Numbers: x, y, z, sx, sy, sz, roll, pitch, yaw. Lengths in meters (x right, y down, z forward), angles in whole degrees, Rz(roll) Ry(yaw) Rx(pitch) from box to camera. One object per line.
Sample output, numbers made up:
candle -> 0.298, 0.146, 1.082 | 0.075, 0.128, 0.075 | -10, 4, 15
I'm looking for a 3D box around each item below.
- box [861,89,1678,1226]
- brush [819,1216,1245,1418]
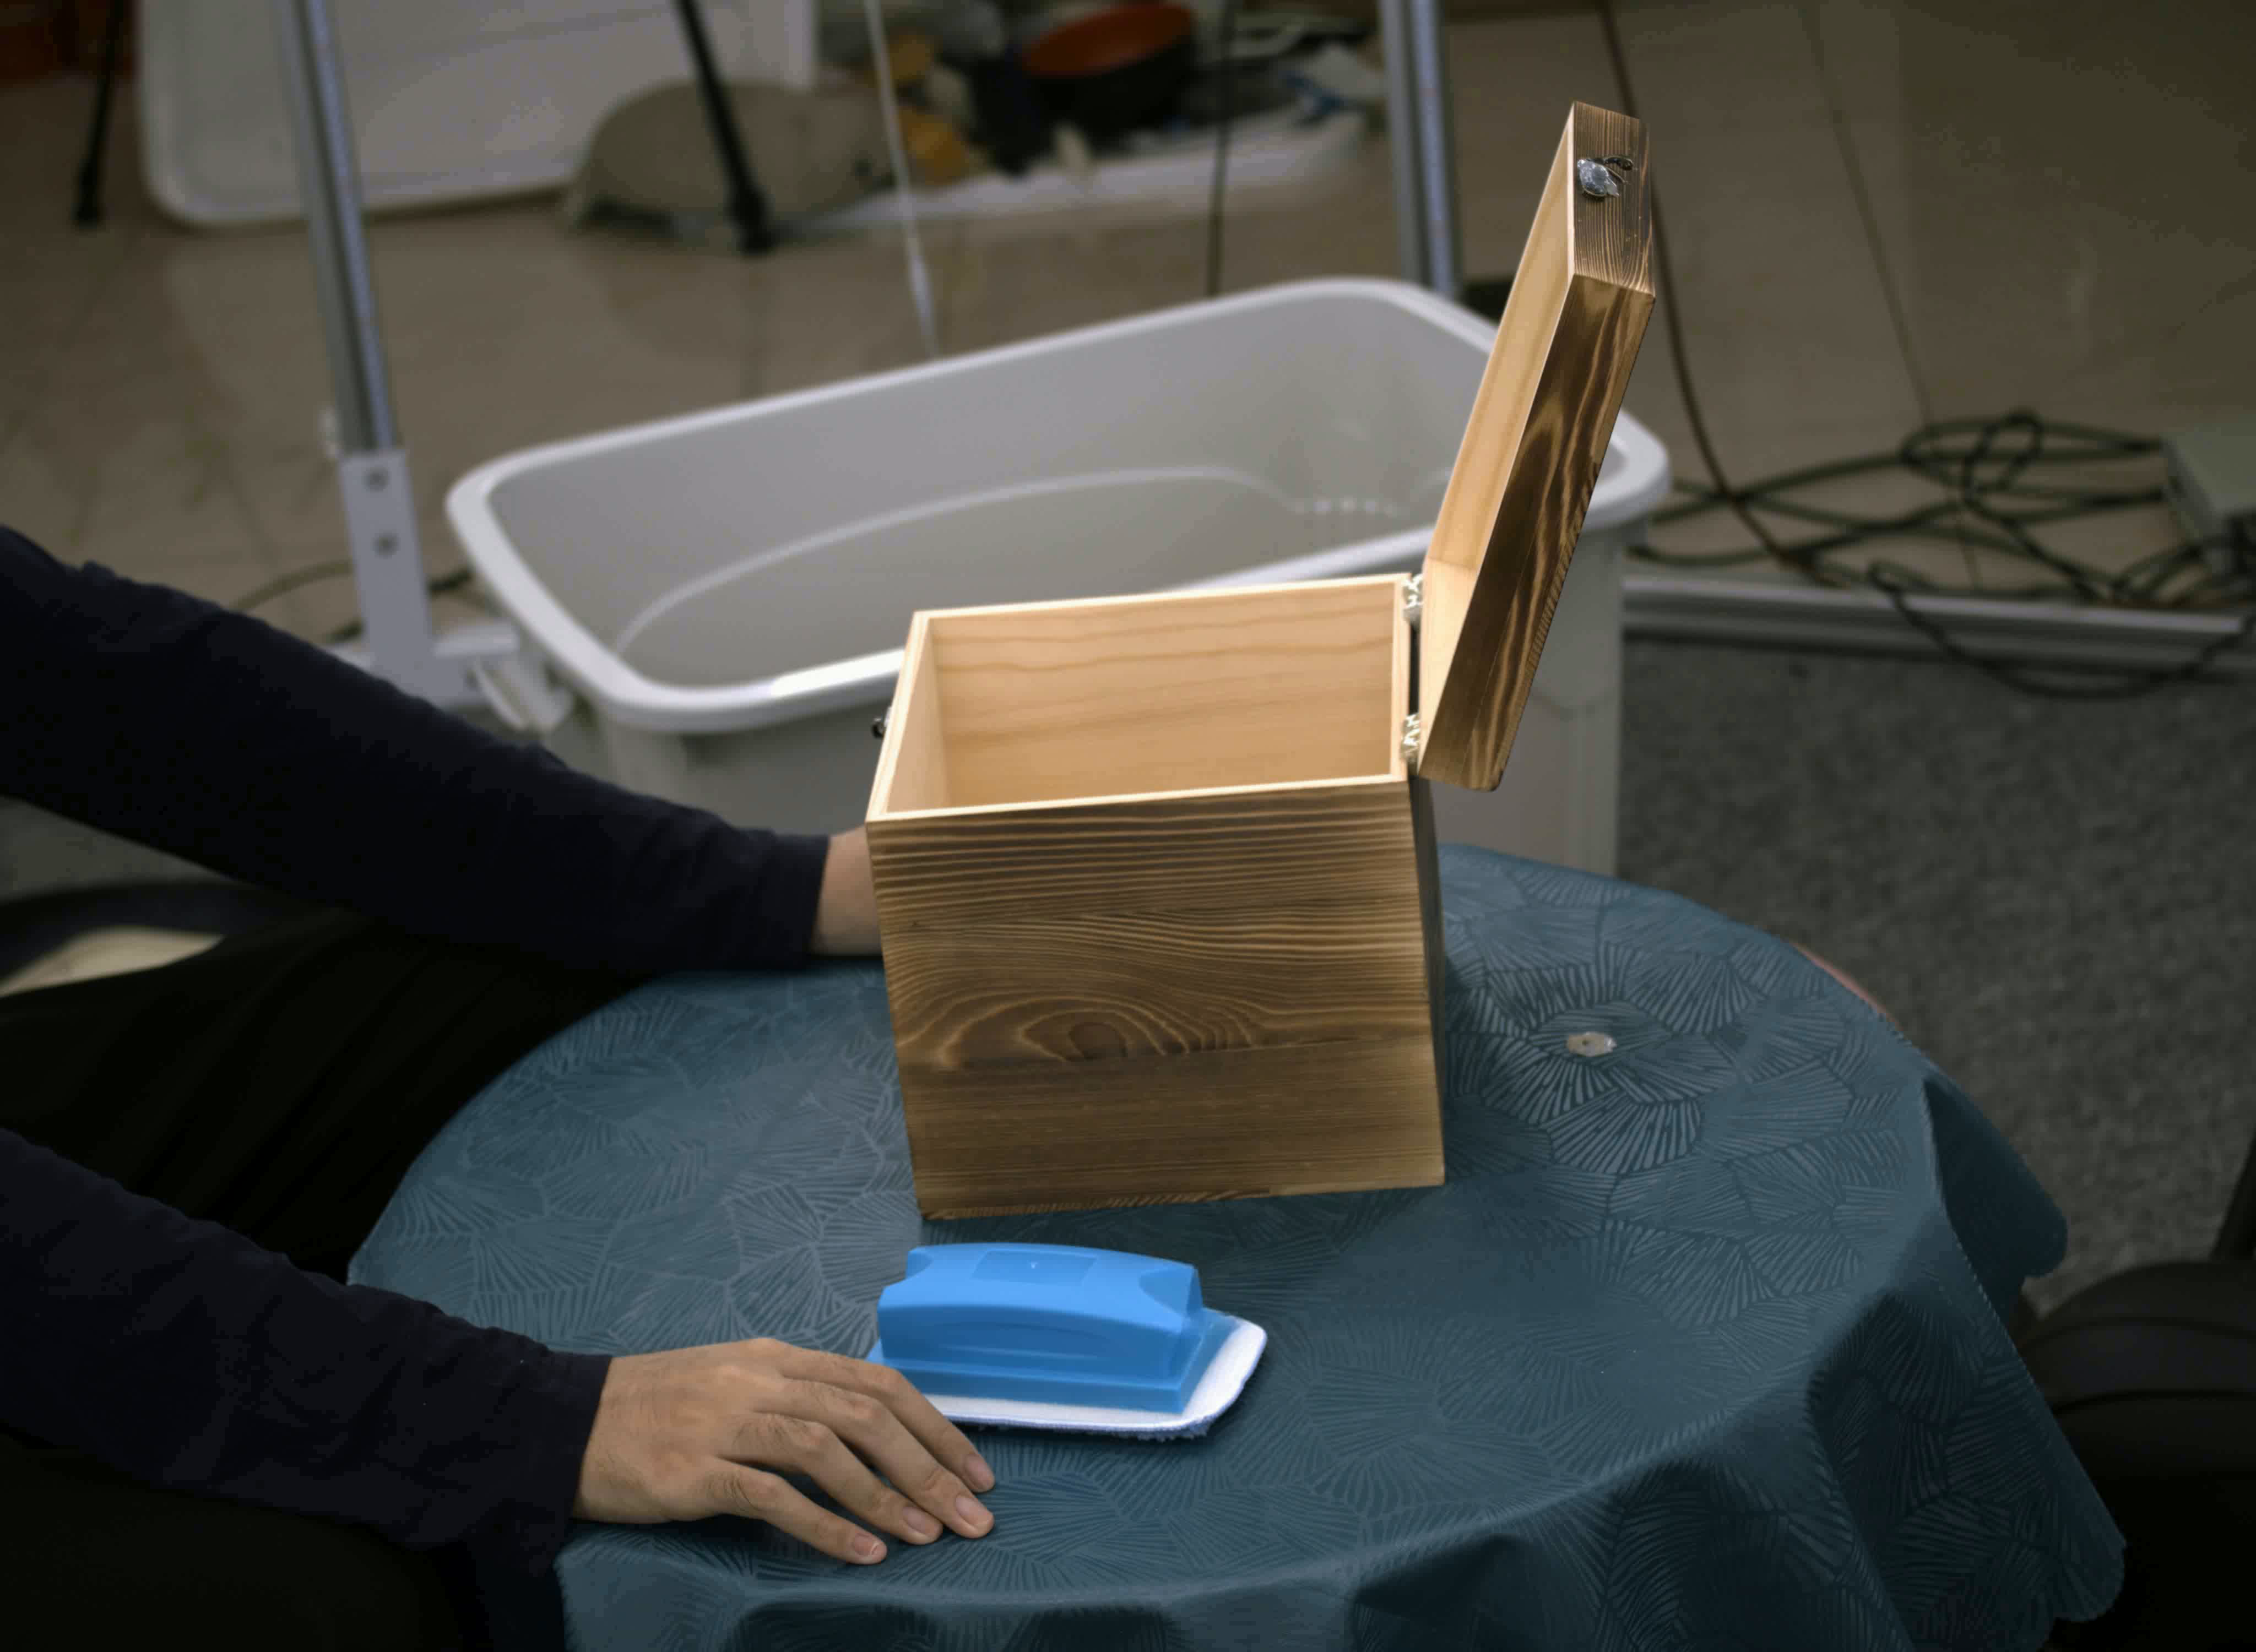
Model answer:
box -> 0.057, -0.067, 2.142 | 0.321, 0.381, 0.205 | -4, 25, 5
brush -> -0.034, 0.172, 2.011 | 0.143, 0.057, 0.083 | 5, 25, 20
